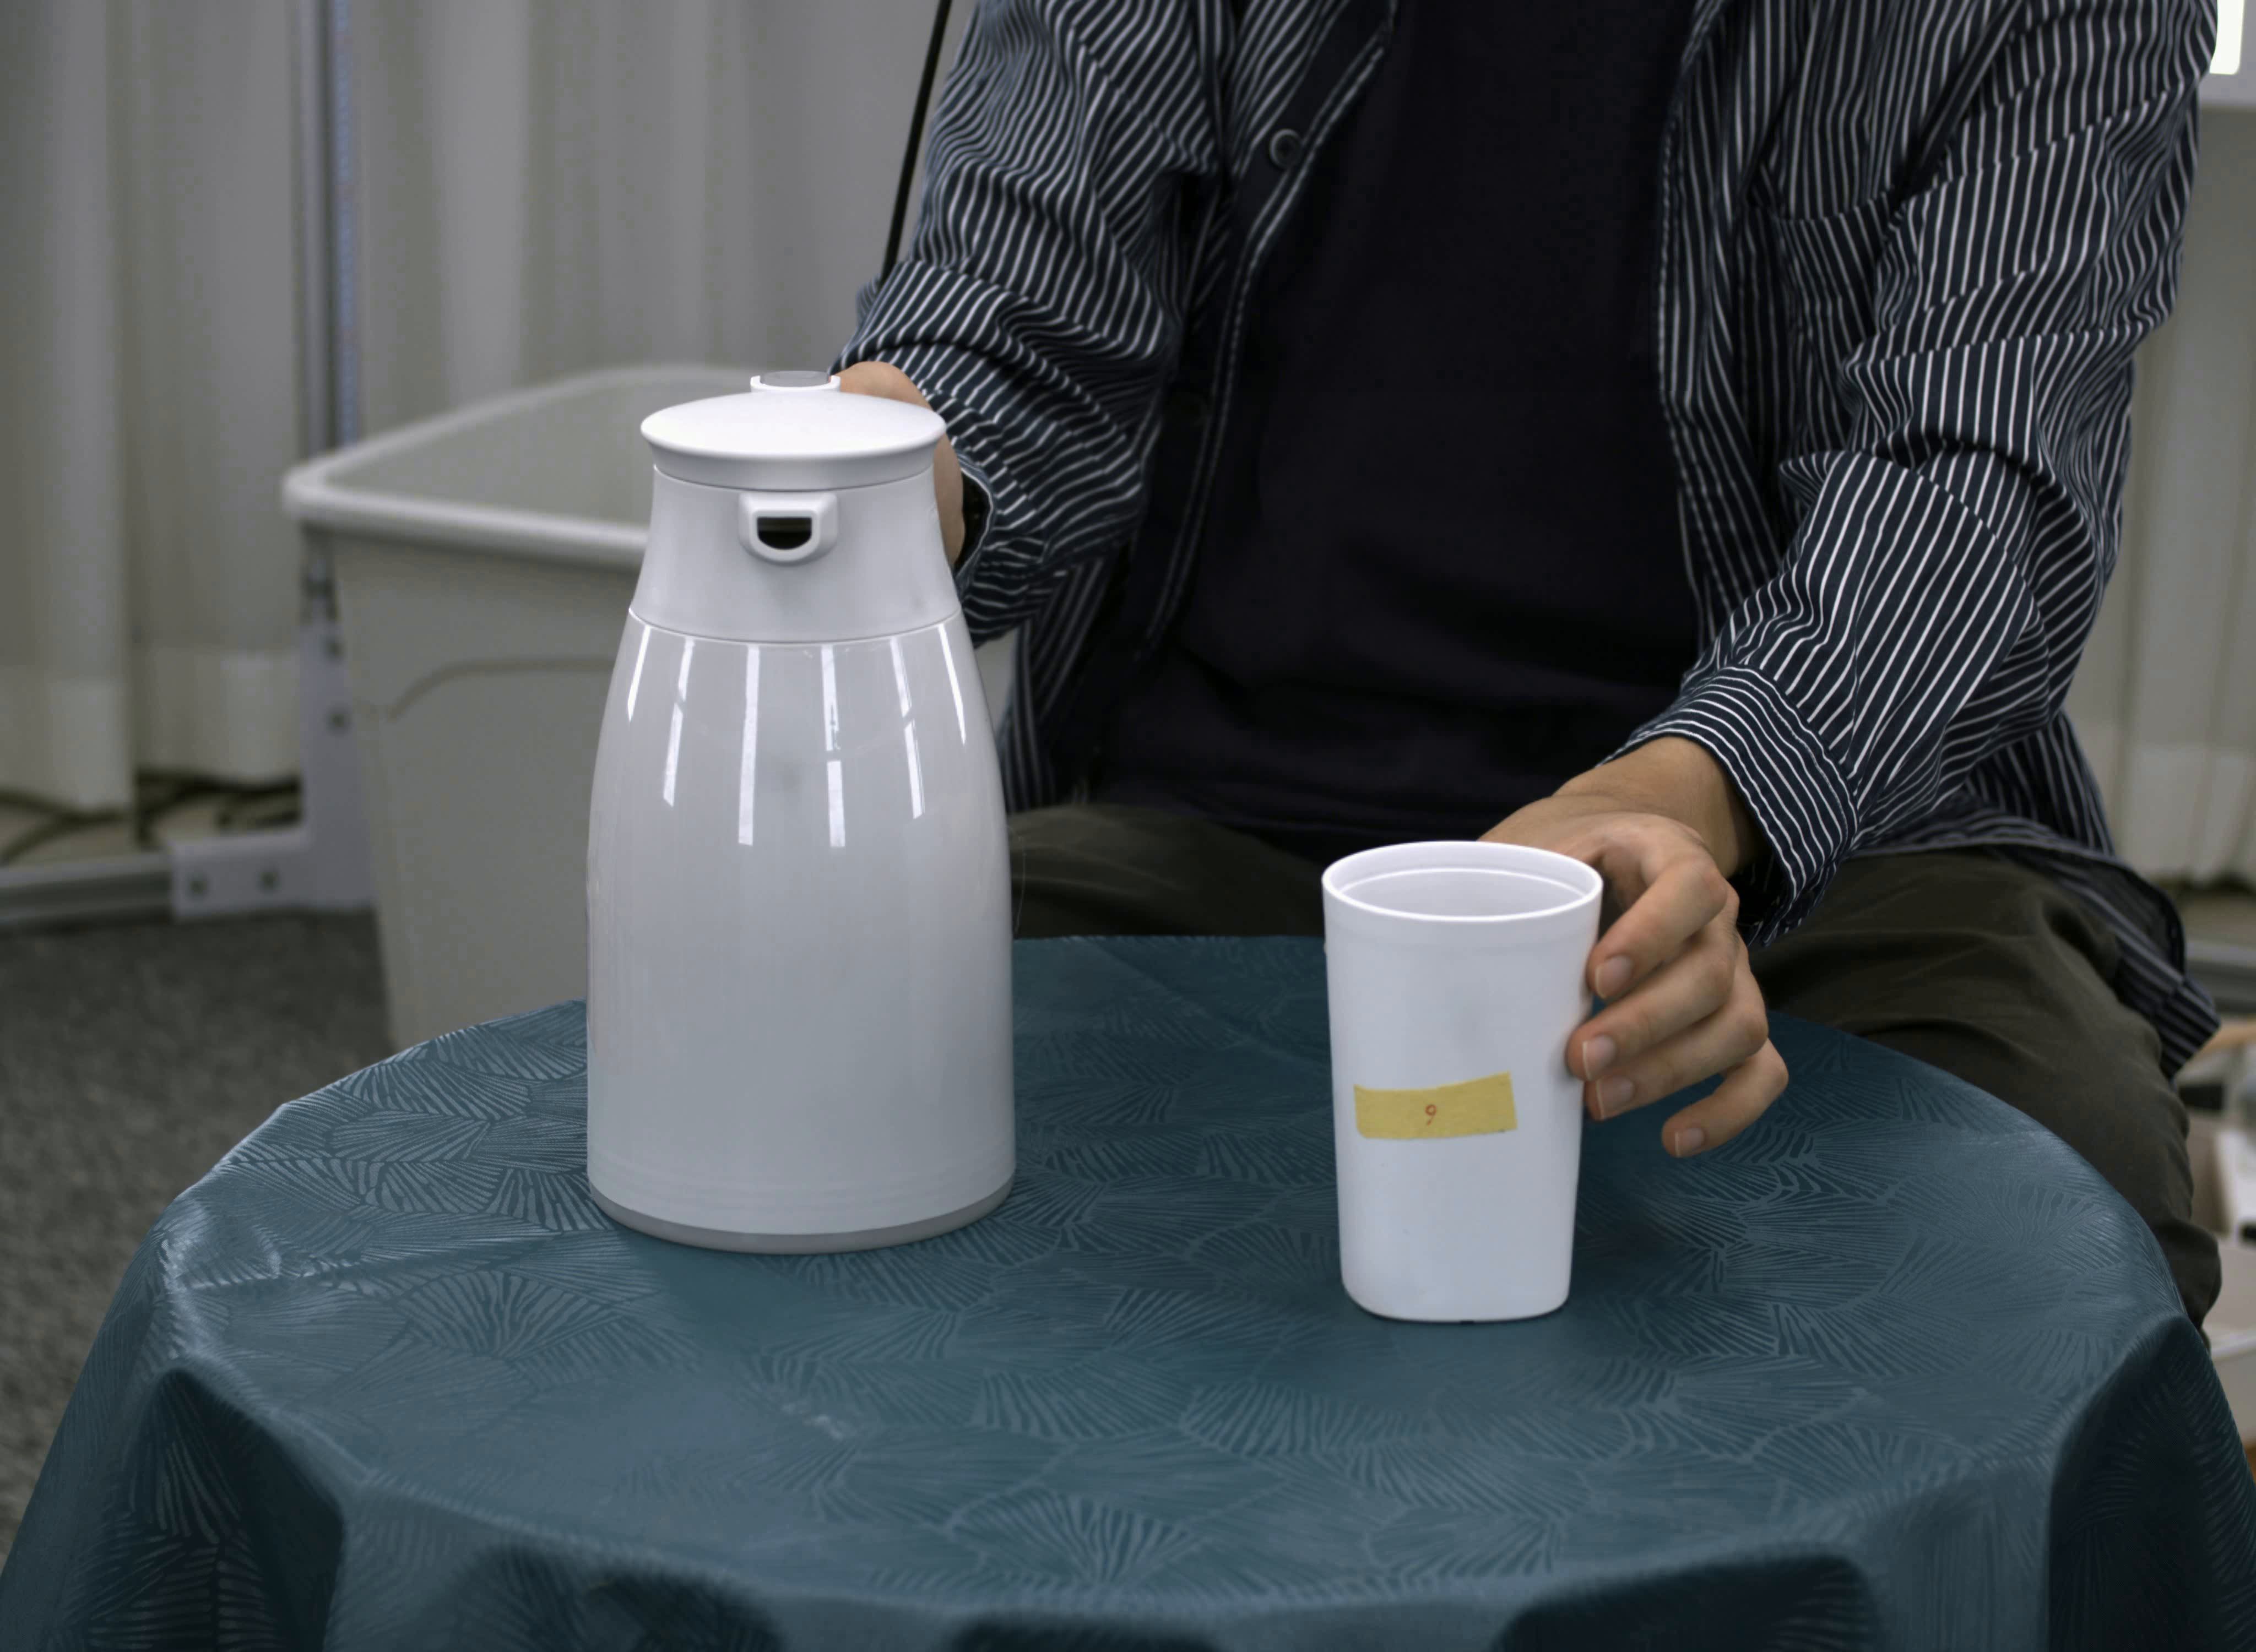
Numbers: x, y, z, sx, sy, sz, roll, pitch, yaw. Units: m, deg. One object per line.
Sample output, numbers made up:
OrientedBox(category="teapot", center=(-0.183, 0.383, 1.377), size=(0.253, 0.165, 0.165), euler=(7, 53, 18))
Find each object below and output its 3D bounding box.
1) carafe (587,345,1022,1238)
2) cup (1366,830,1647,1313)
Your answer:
OrientedBox(category="carafe", center=(-0.104, -0.019, 1.617), size=(0.132, 0.251, 0.166), euler=(-4, 18, -7))
OrientedBox(category="cup", center=(0.110, 0.072, 1.529), size=(0.081, 0.126, 0.081), euler=(-1, 16, 1))
